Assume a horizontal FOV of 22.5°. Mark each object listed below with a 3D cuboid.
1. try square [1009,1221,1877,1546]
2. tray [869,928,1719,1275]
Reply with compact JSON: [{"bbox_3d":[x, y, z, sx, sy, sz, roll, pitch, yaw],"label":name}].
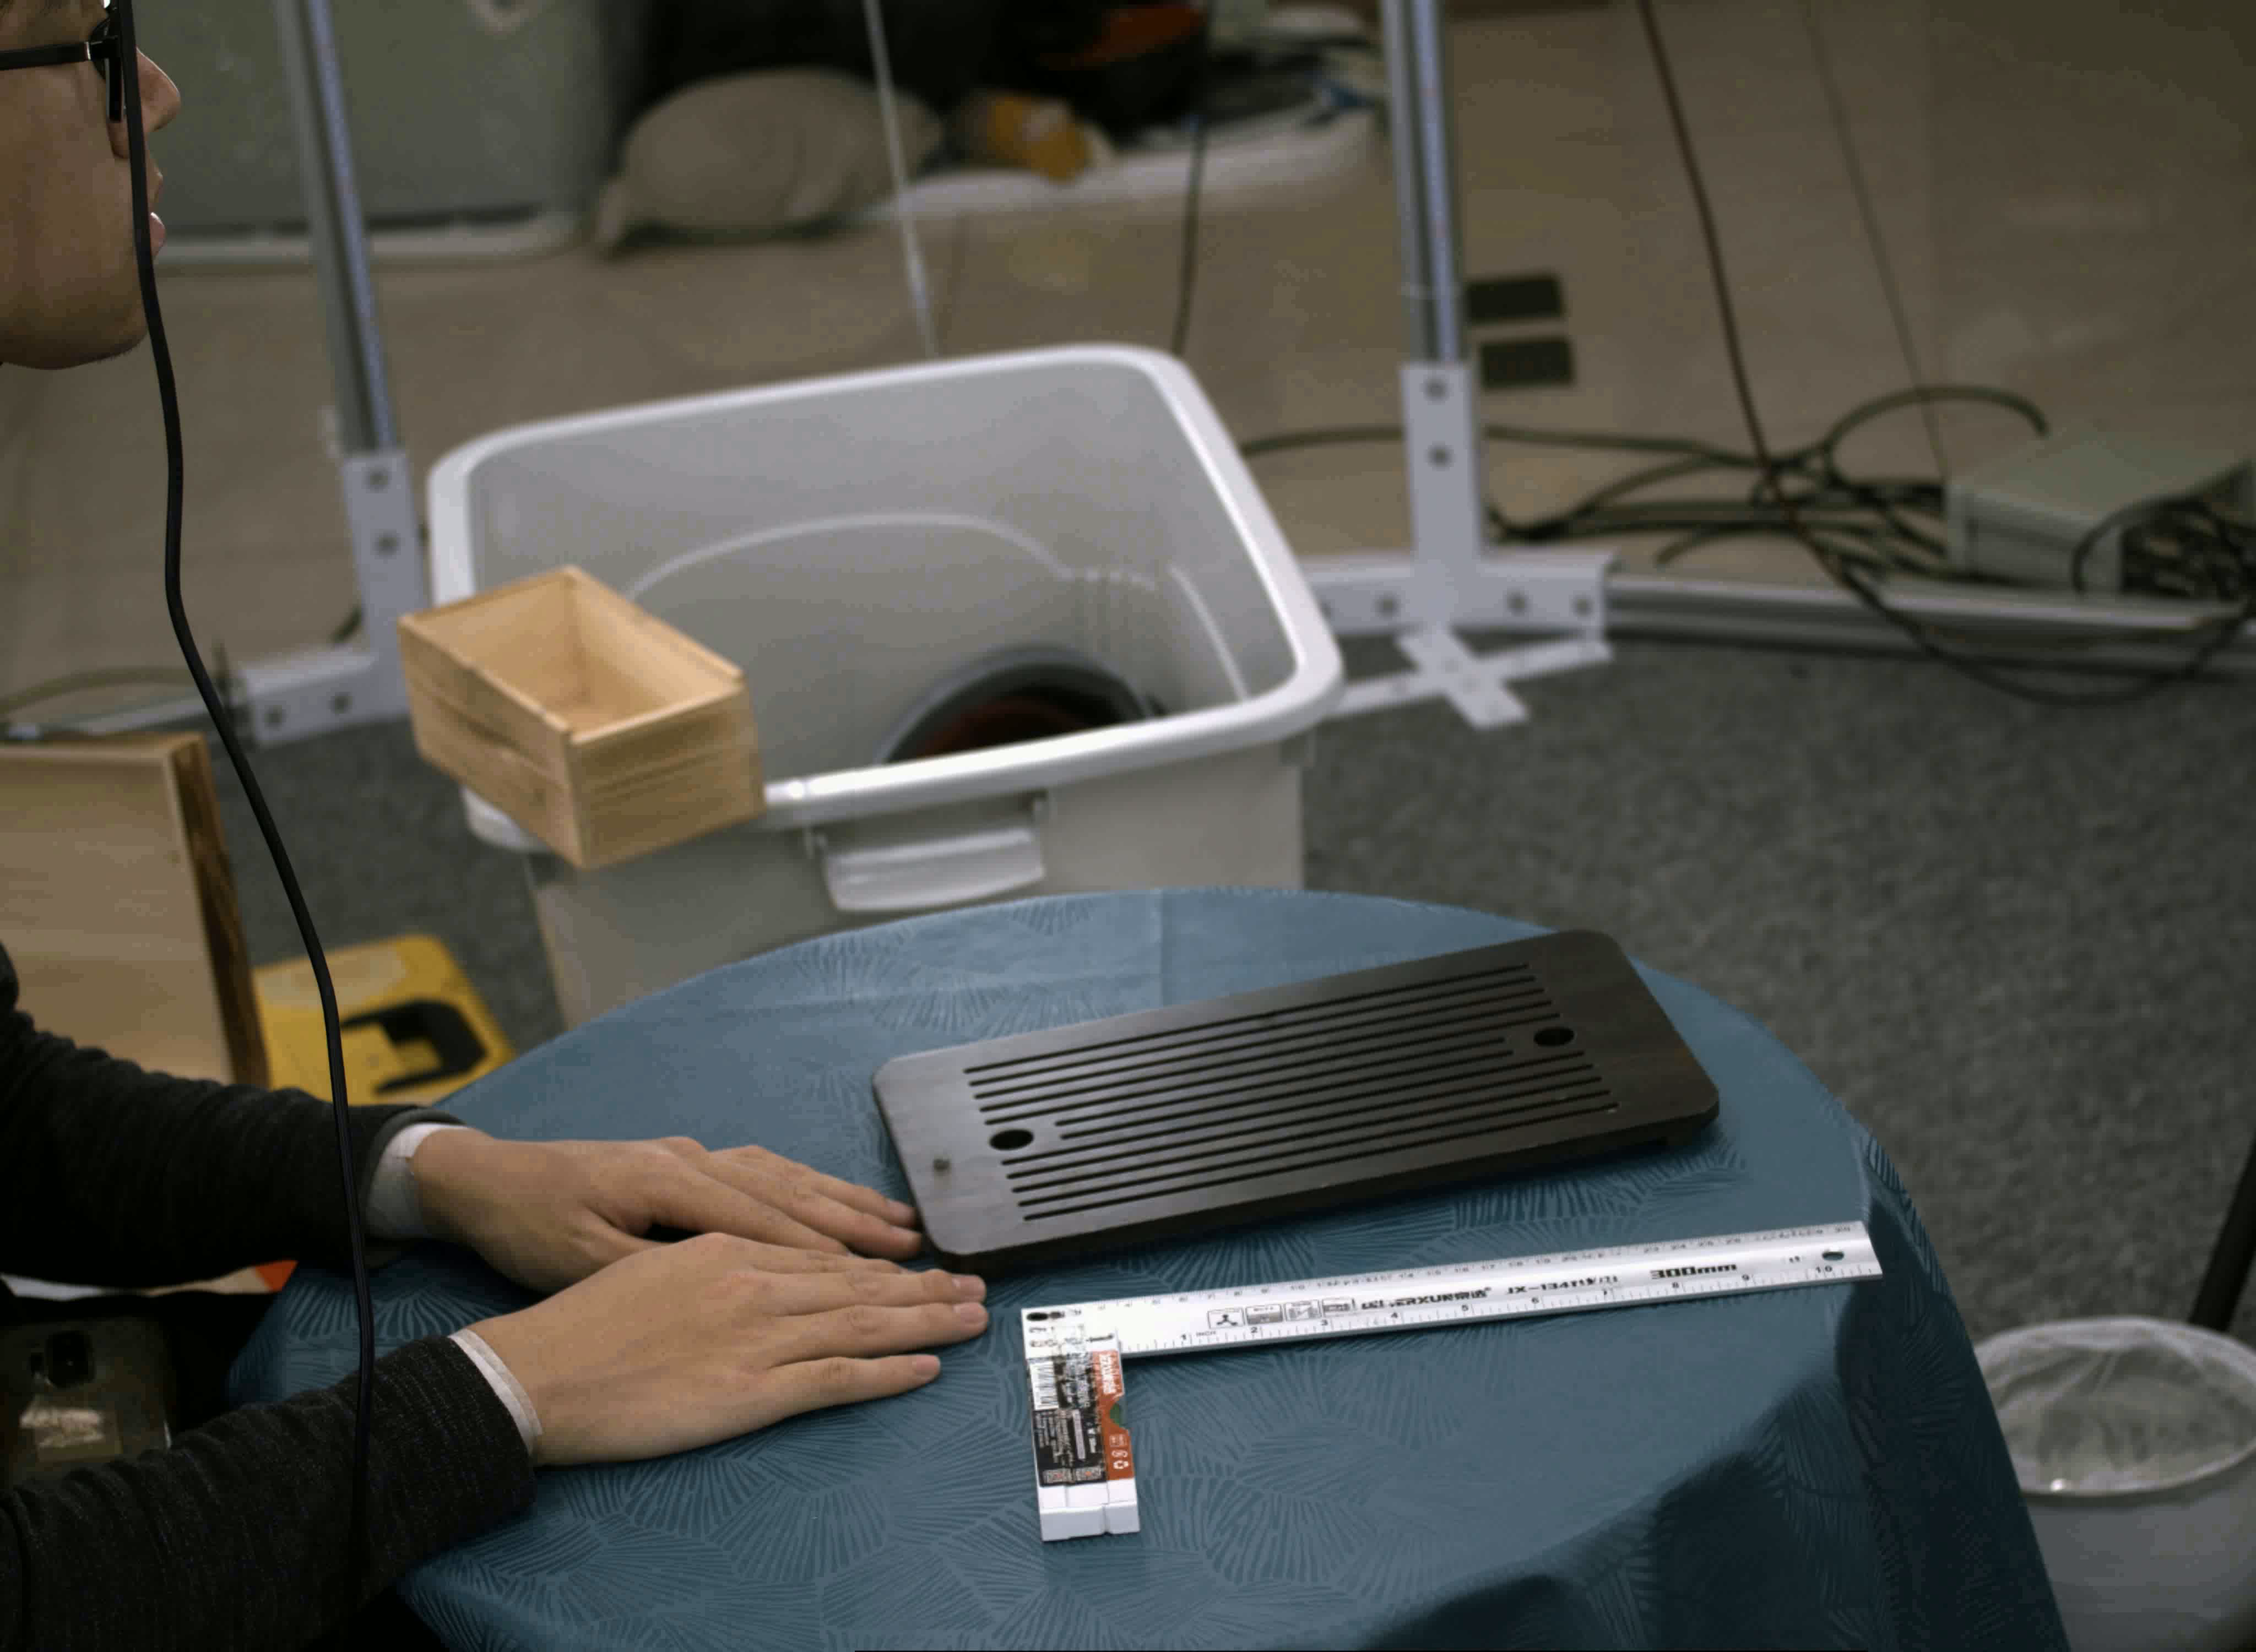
[{"bbox_3d":[0.115,0.192,1.998,0.312,0.016,0.150,-6,26,-1],"label":"try square"},{"bbox_3d":[0.061,0.106,2.183,0.305,0.019,0.168,-10,26,-8],"label":"tray"}]
